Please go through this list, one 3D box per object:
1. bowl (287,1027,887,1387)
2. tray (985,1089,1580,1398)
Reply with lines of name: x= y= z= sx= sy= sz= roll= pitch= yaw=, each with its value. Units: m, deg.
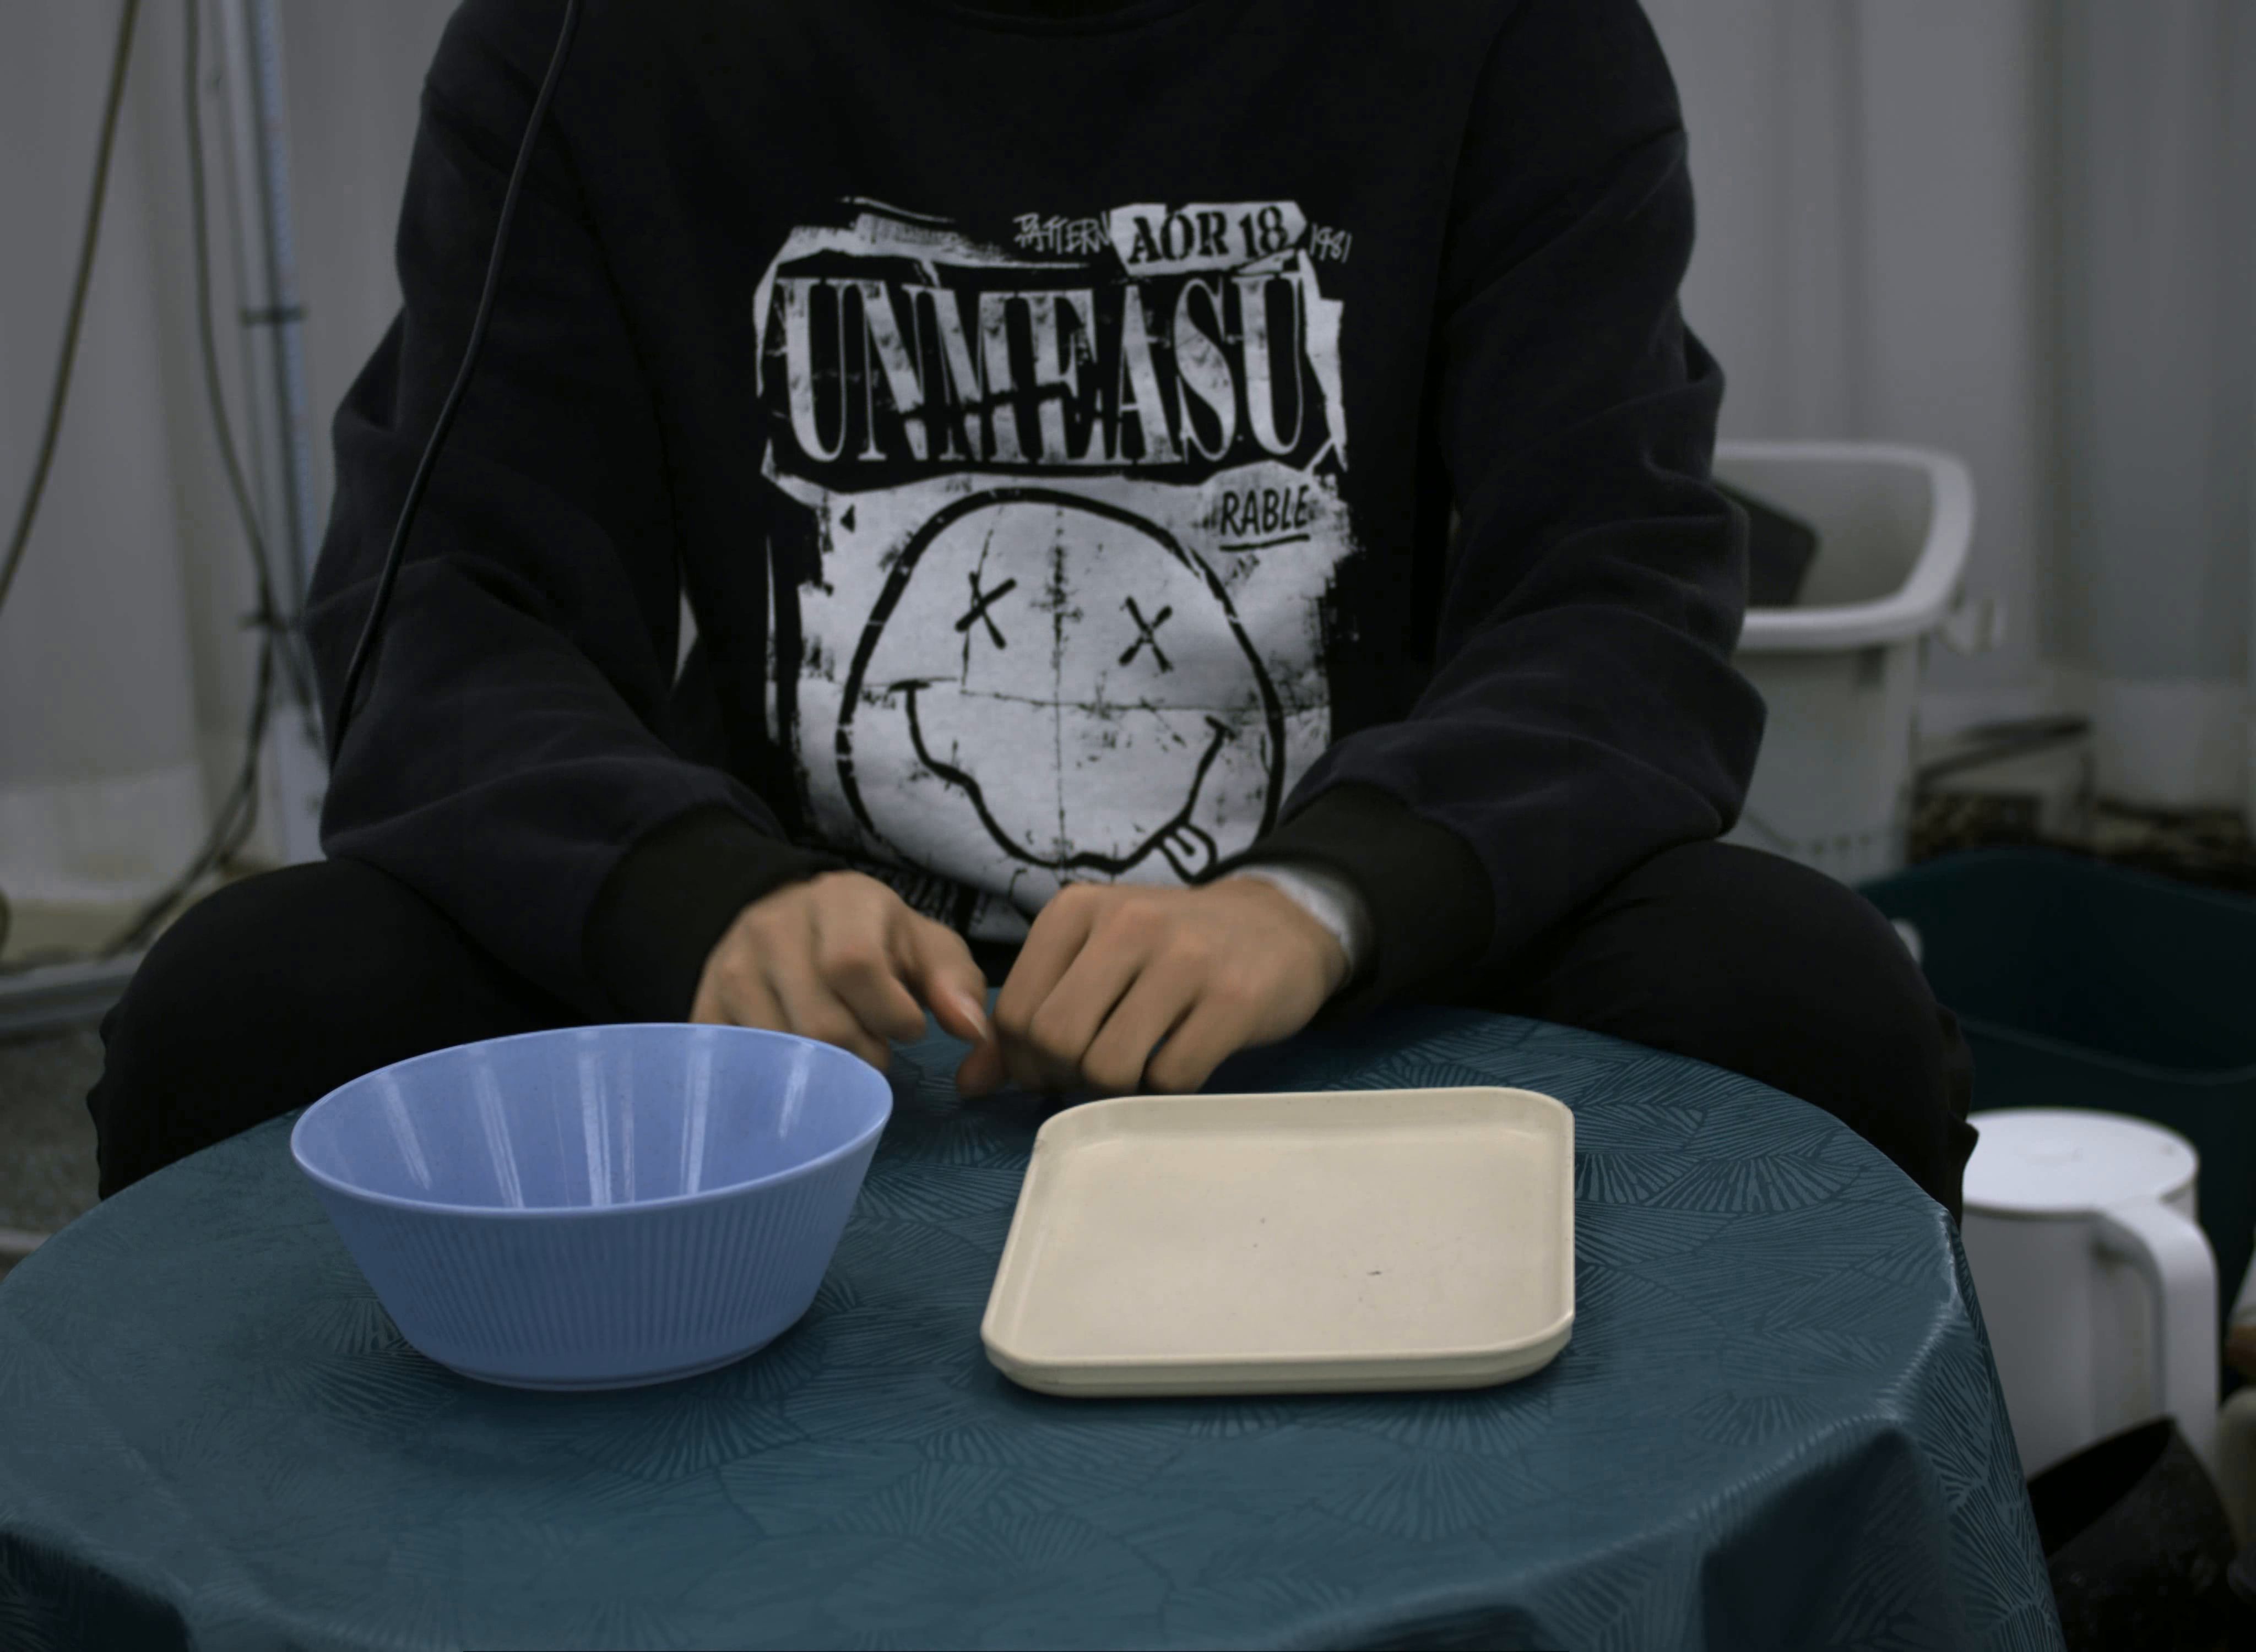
bowl: x=-0.157 y=0.114 z=1.608 sx=0.175 sy=0.070 sz=0.177 roll=-2 pitch=15 yaw=0
tray: x=0.049 y=0.124 z=1.636 sx=0.171 sy=0.017 sz=0.241 roll=-1 pitch=15 yaw=5
